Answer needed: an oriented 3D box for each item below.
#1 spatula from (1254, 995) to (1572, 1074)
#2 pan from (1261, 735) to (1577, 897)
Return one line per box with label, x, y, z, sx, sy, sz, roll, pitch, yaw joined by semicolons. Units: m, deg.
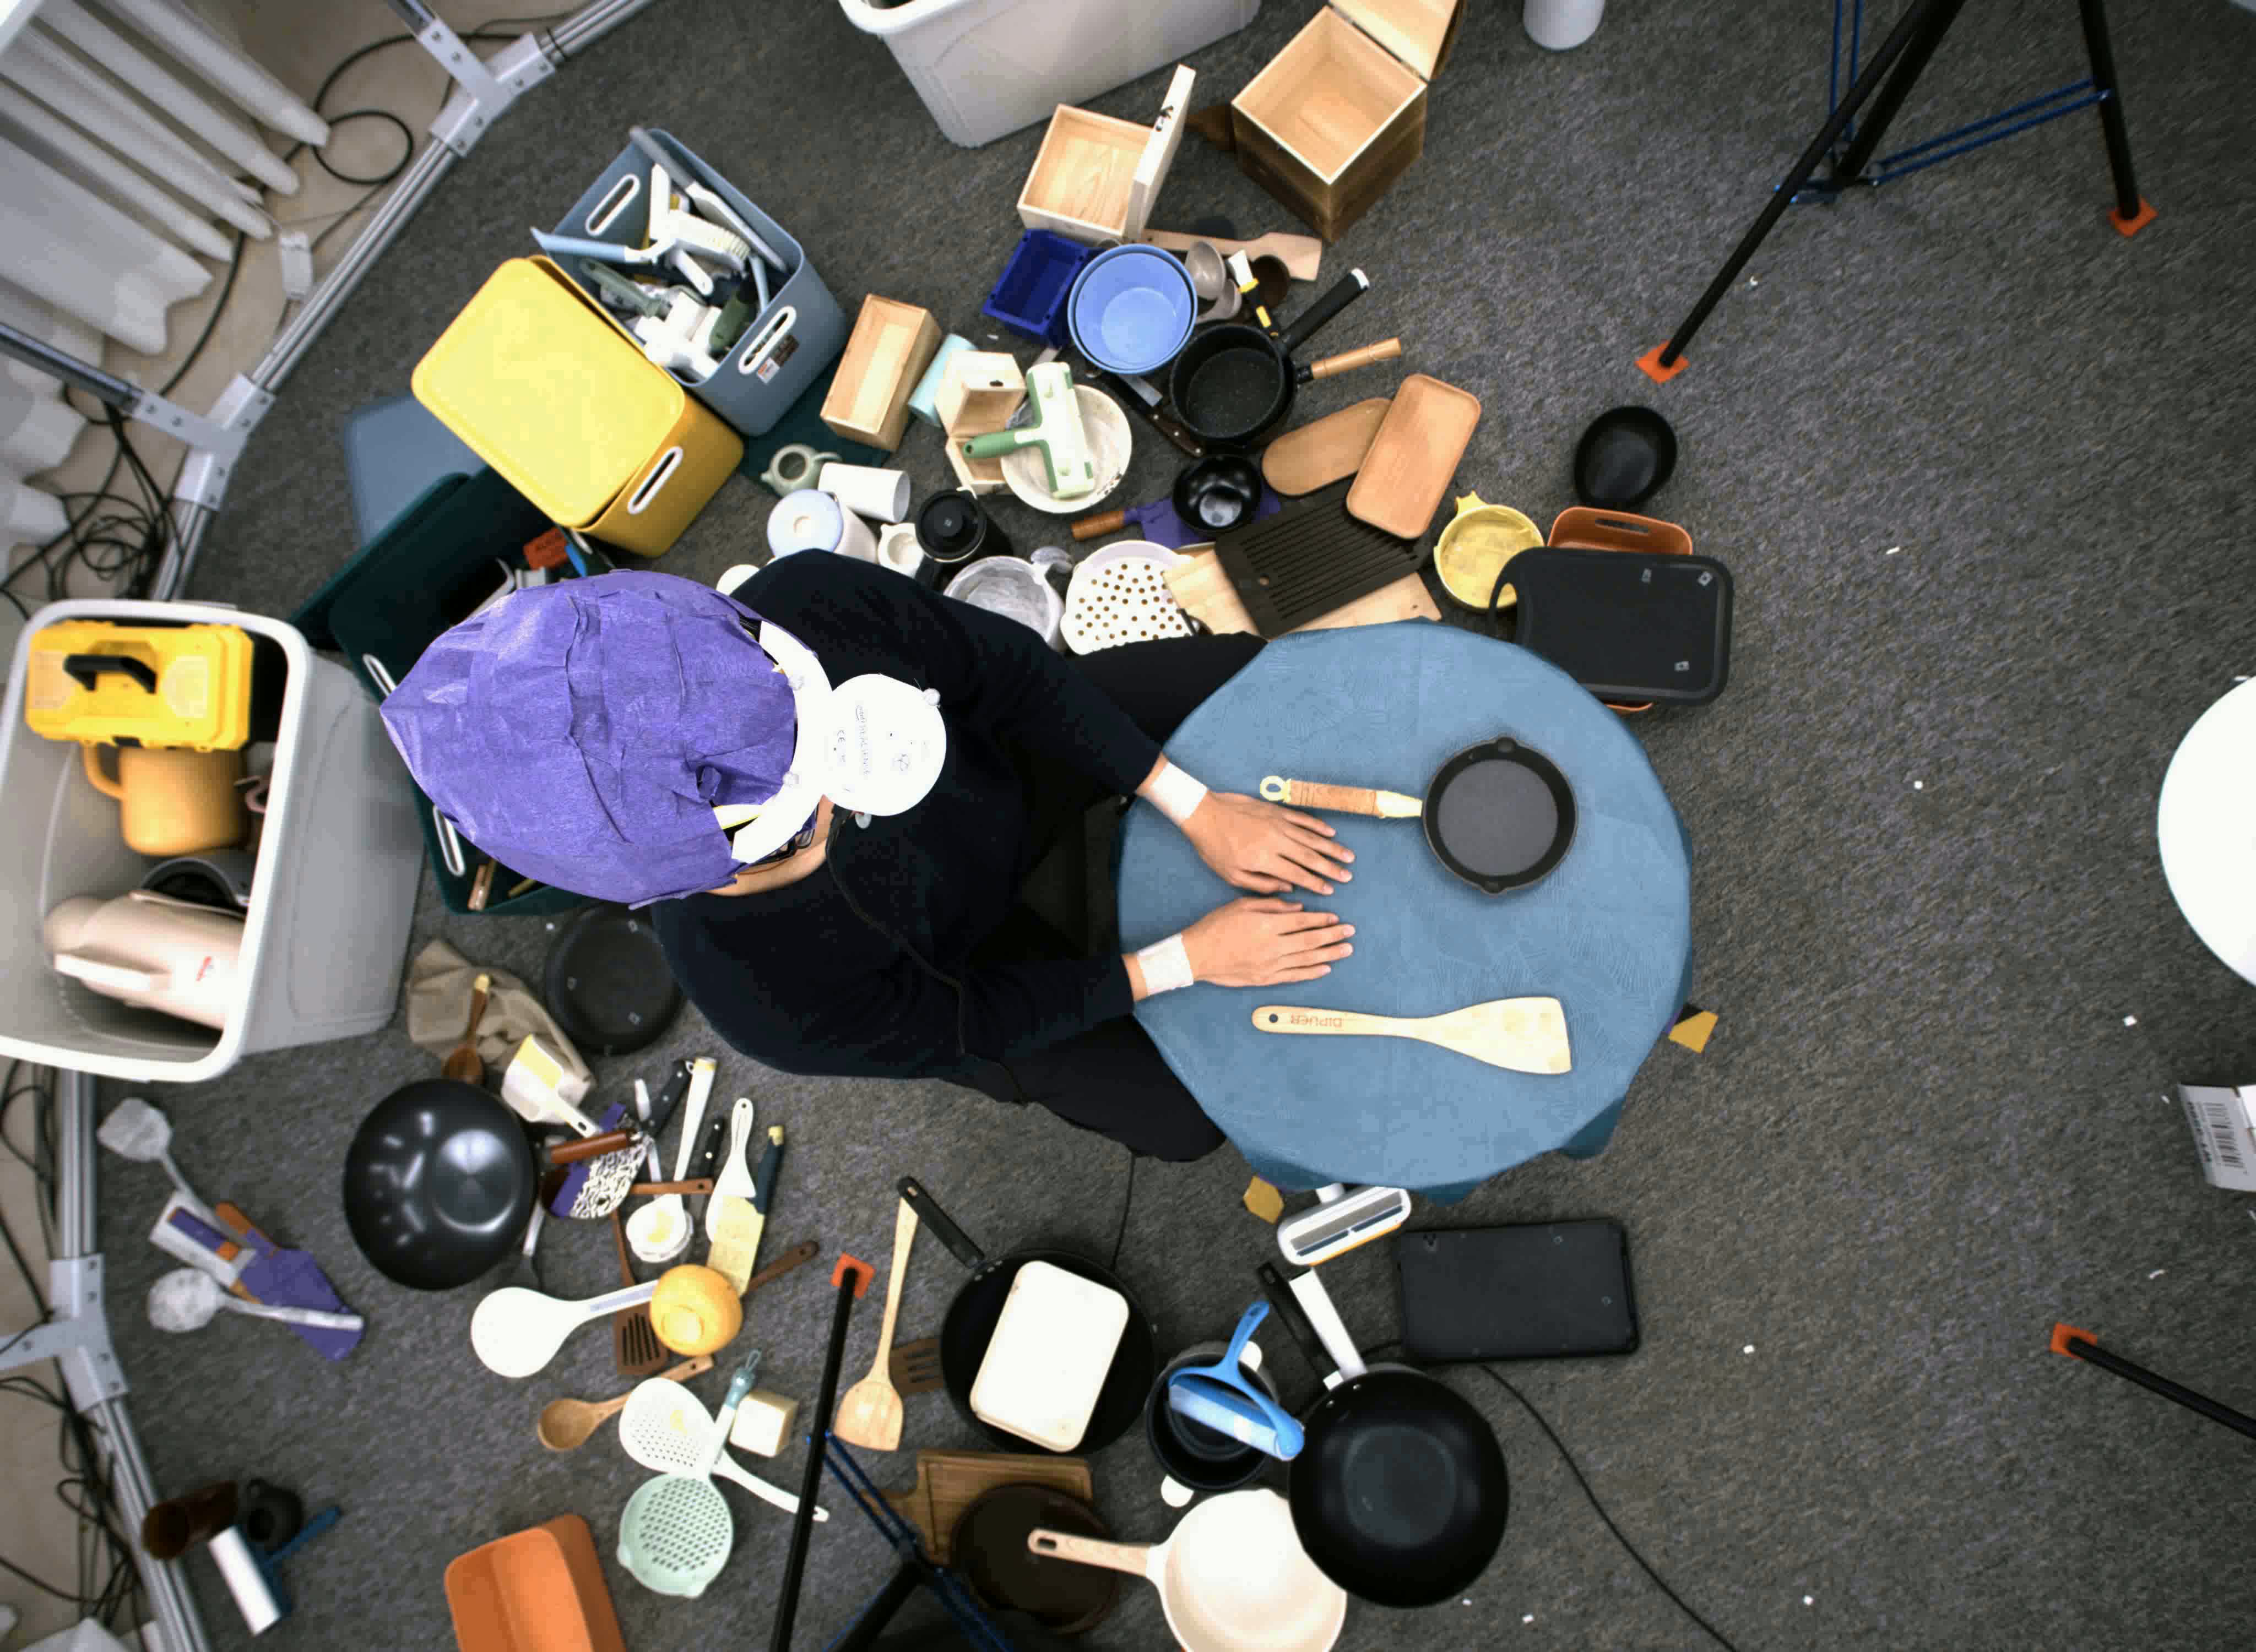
spatula;0.294;0.207;1.440;0.329;0.016;0.079;2;86;11
pan;0.301;-0.023;1.434;0.325;0.049;0.168;8;88;9
